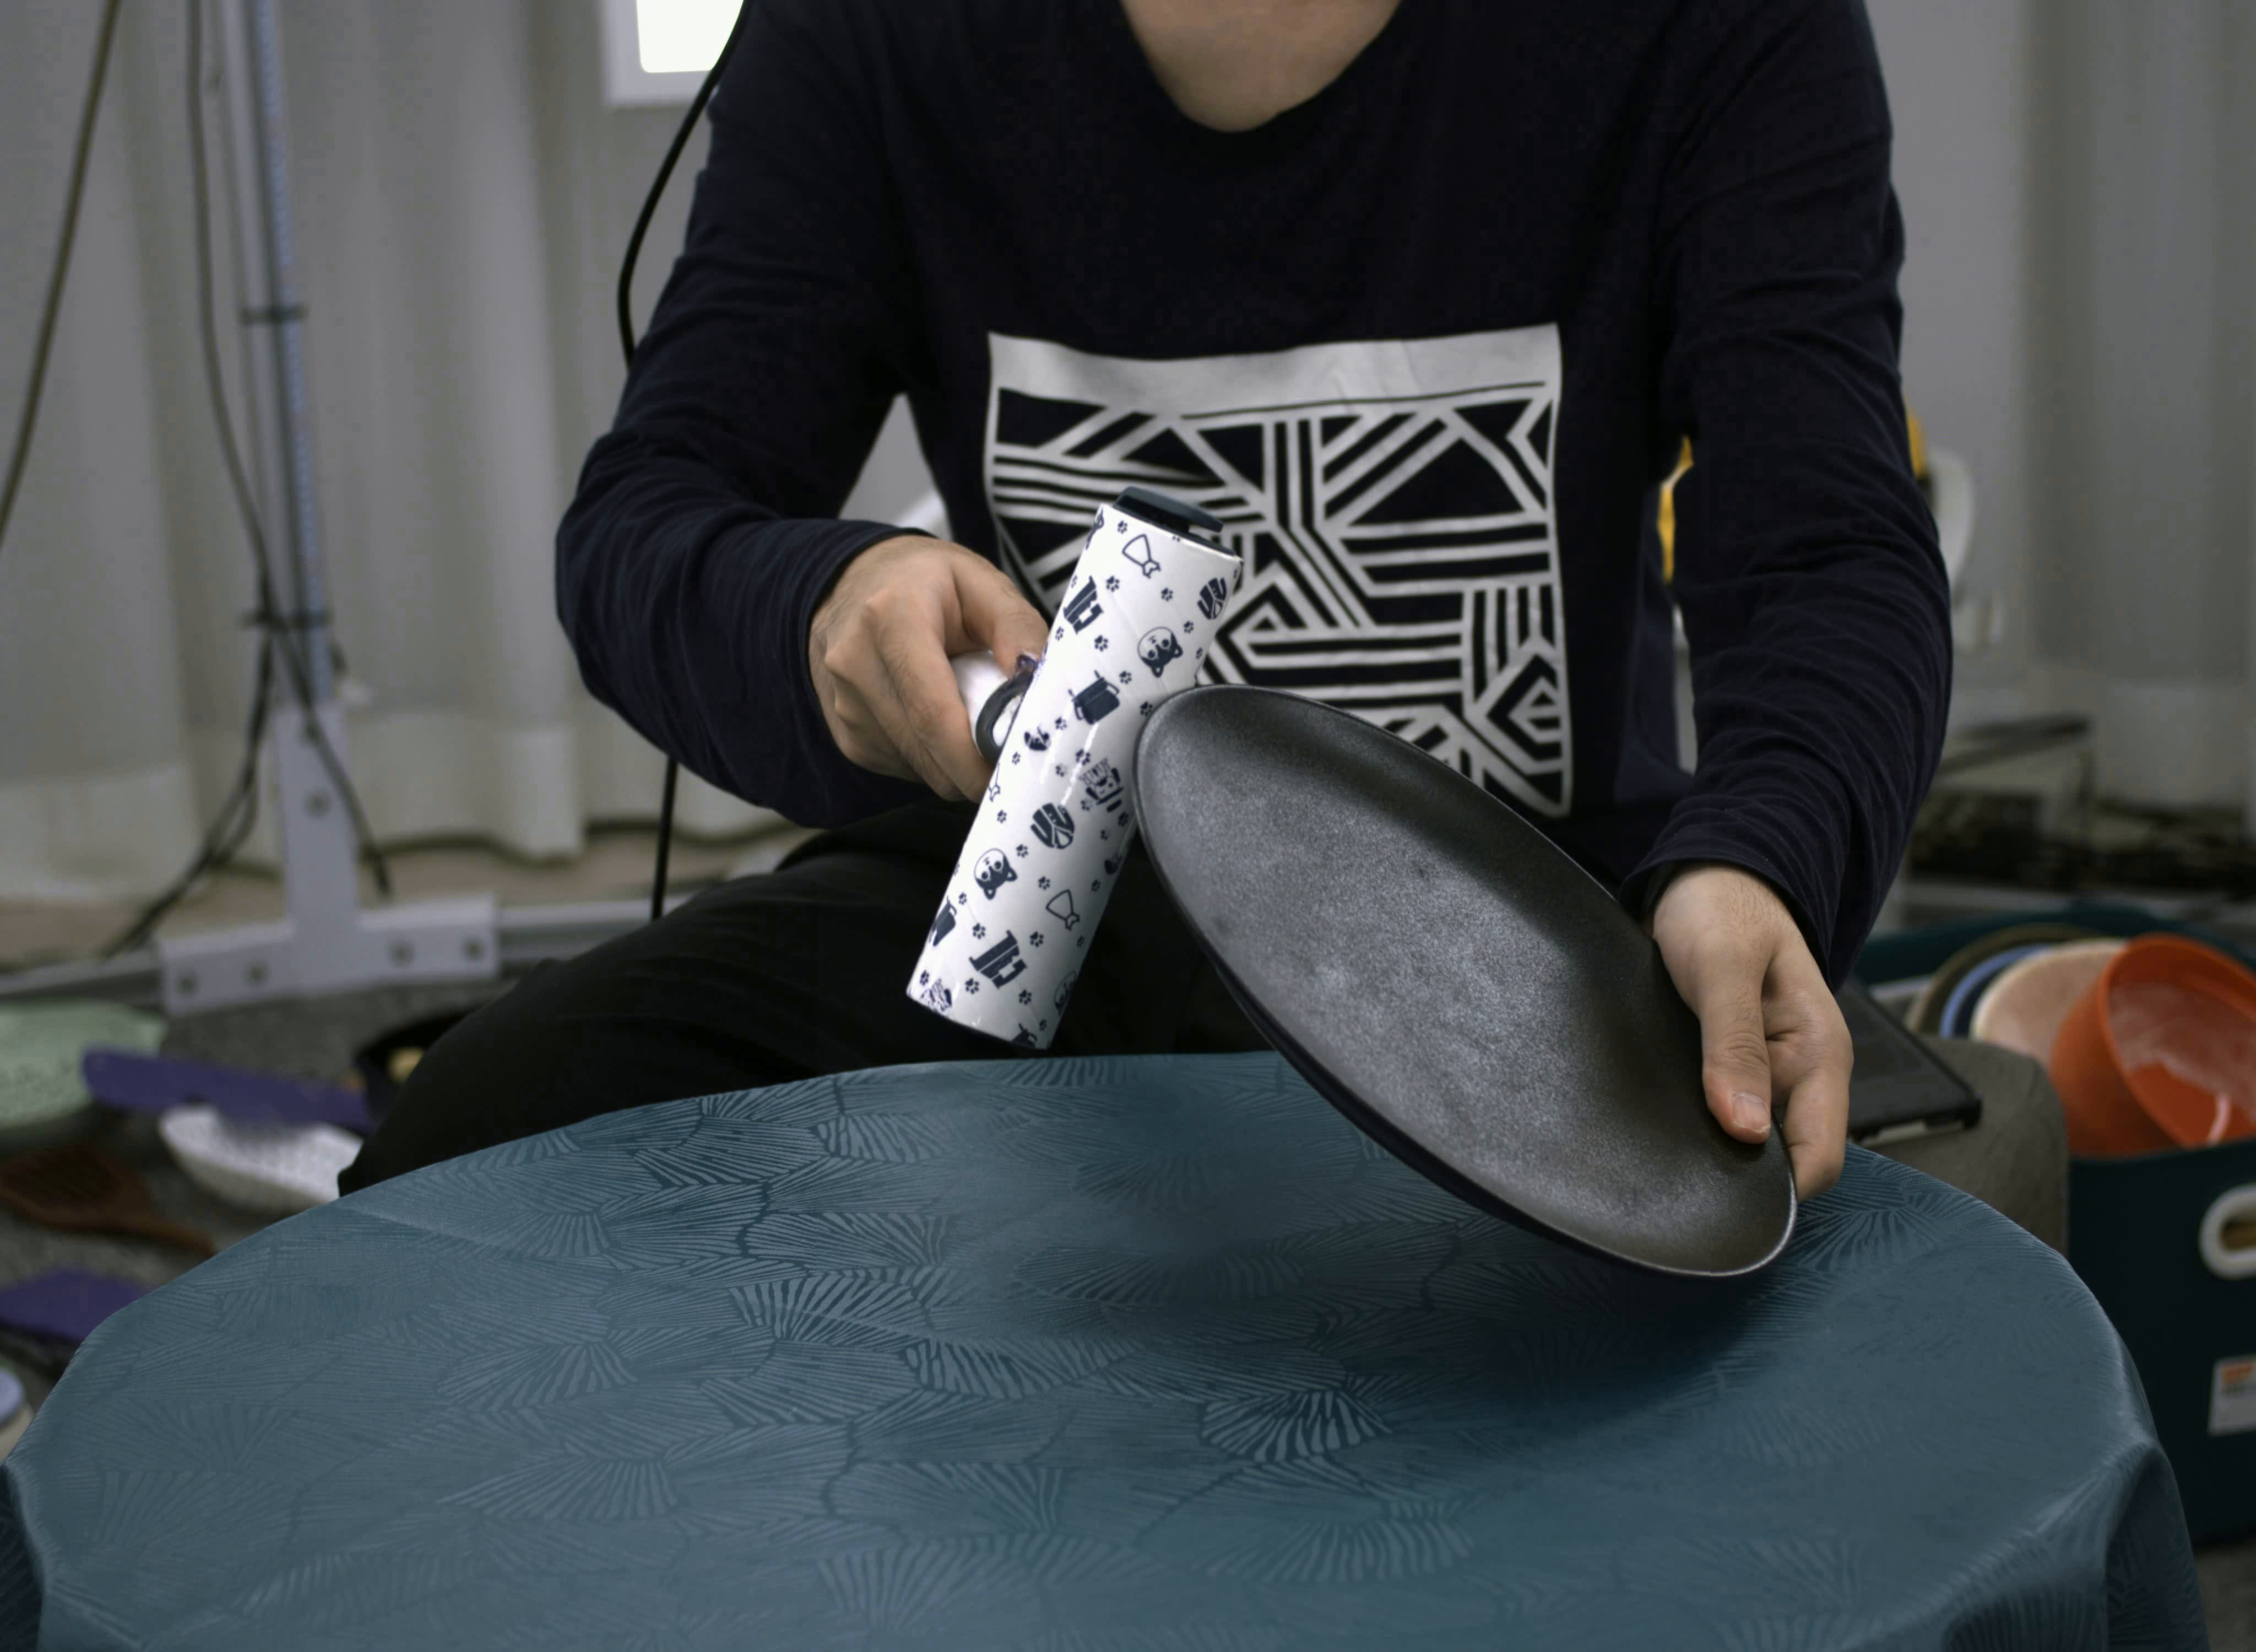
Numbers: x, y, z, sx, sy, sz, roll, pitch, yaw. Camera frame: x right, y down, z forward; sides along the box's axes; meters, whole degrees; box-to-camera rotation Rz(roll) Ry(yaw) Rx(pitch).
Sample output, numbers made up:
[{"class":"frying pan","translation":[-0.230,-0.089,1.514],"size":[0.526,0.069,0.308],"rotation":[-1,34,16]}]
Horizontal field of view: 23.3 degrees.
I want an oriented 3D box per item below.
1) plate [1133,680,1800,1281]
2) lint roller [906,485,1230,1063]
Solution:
[{"class":"plate","translation":[0.095,0.049,1.605],"size":[0.242,0.023,0.247],"rotation":[31,25,-16]},{"class":"lint roller","translation":[-0.040,-0.031,1.741],"size":[0.050,0.176,0.248],"rotation":[19,4,-16]}]
